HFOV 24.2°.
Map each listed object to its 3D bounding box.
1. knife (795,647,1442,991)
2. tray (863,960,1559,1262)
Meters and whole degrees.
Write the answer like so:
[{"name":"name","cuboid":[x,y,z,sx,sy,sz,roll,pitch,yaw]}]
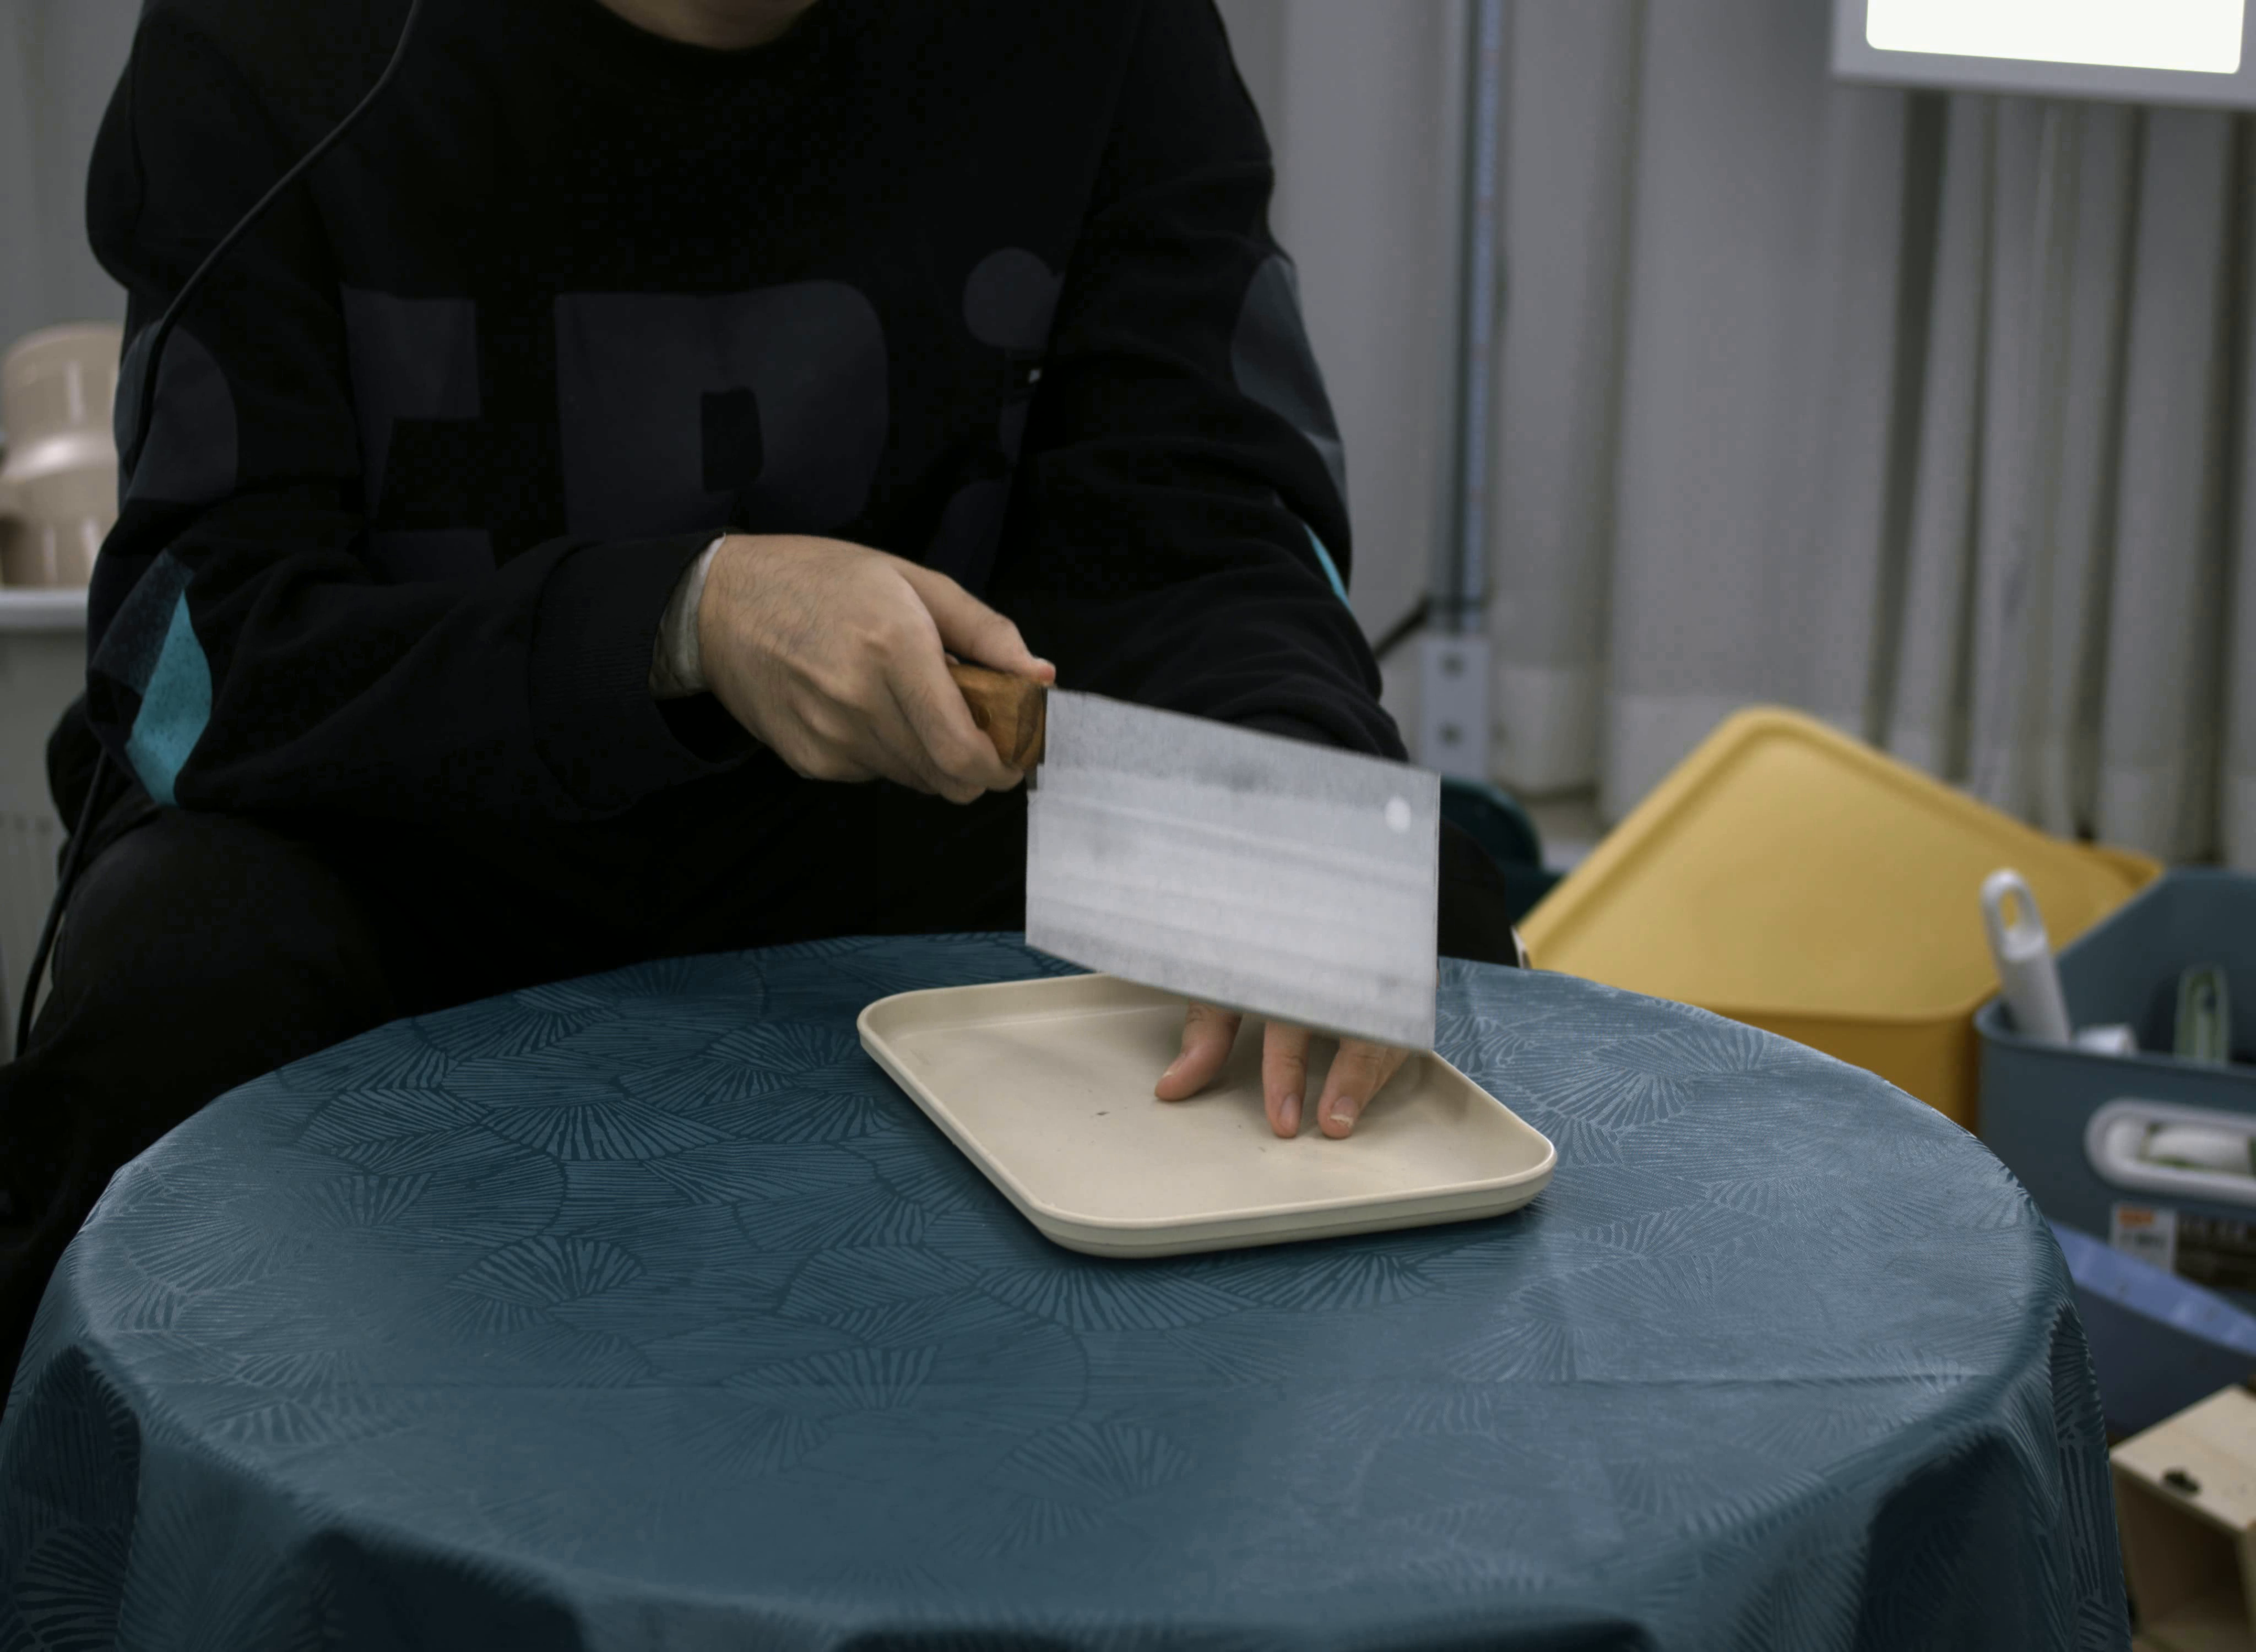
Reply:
[{"name":"knife","cuboid":[-0.008,-0.002,1.708,0.021,0.093,0.302,-12,17,-41]},{"name":"tray","cuboid":[0.022,0.088,1.675,0.171,0.017,0.237,-6,17,-18]}]
